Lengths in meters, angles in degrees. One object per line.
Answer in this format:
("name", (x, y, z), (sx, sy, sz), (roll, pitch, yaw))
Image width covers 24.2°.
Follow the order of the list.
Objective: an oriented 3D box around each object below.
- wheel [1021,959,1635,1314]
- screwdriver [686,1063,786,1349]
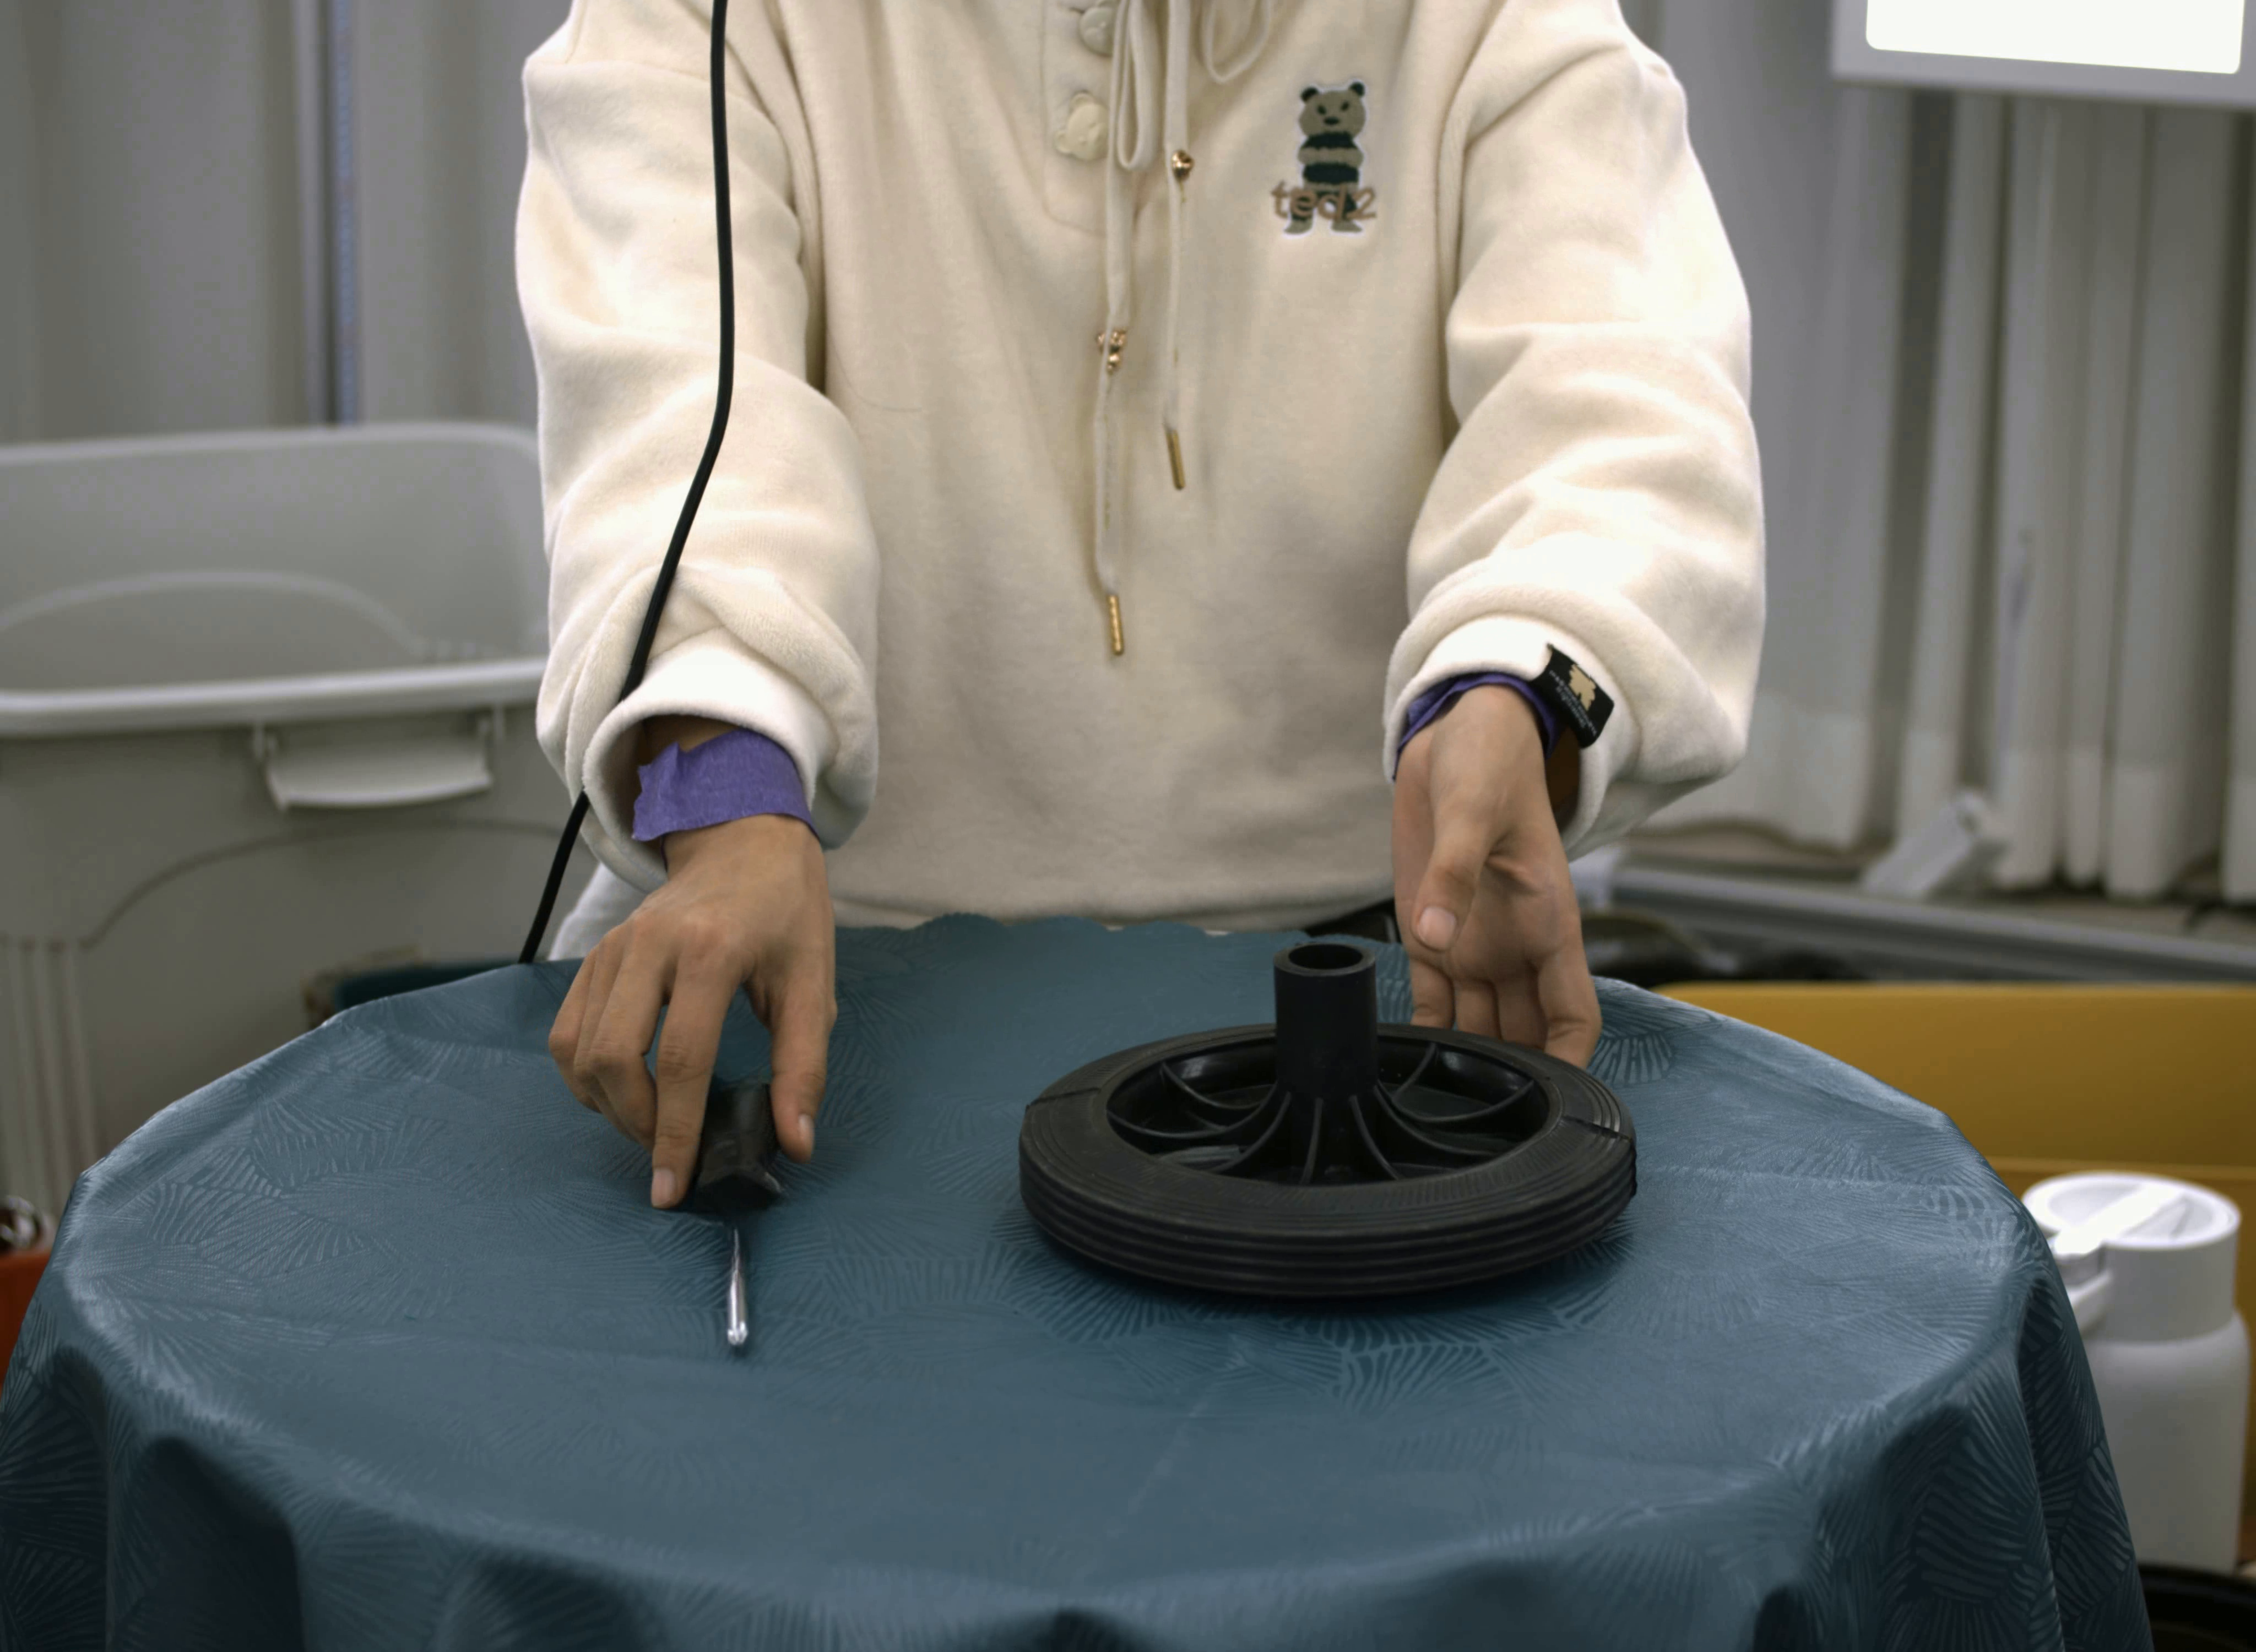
("wheel", (0.059, 0.083, 1.590), (0.190, 0.080, 0.185), (-18, 24, -39))
("screwdriver", (-0.114, 0.113, 1.570), (0.031, 0.032, 0.194), (-1, 17, -7))
